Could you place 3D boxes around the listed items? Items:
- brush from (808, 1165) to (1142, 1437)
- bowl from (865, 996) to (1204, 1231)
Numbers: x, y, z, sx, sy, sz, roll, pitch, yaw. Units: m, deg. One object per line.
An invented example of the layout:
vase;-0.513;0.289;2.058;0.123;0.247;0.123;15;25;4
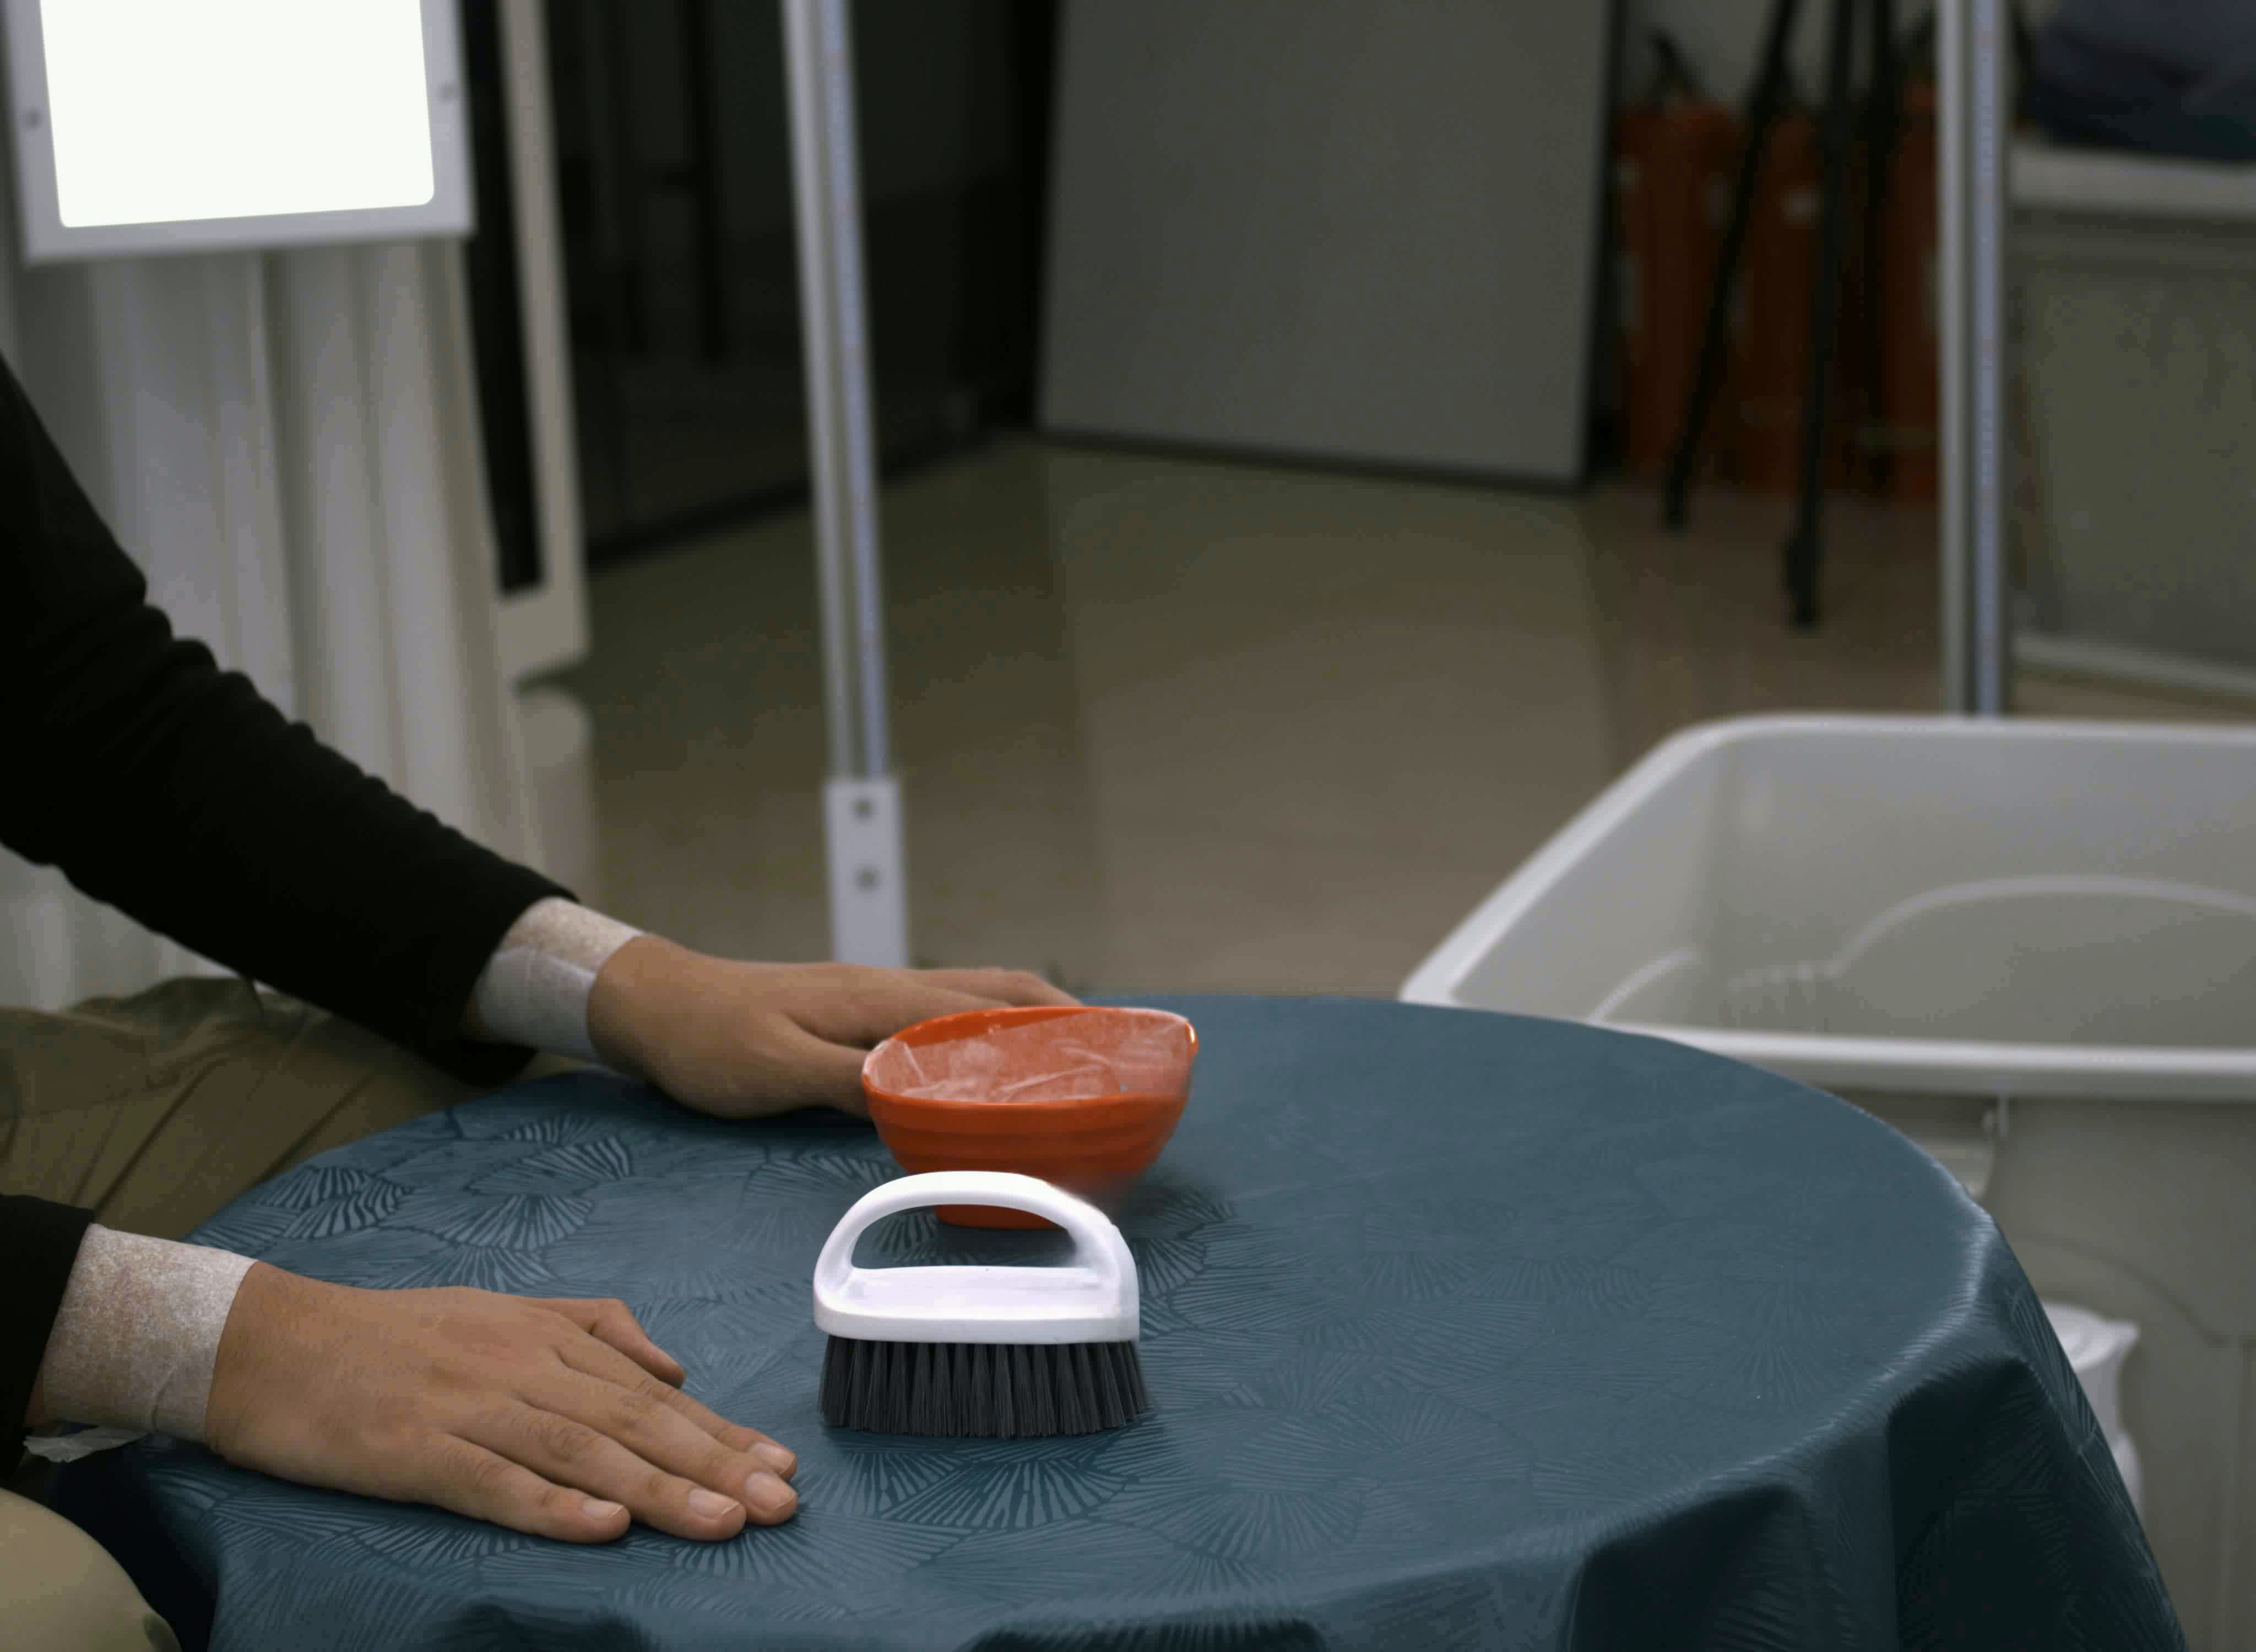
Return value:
brush;-0.046;0.135;1.571;0.099;0.073;0.050;0;14;17
bowl;-0.030;0.096;1.765;0.117;0.052;0.119;-1;17;-1
